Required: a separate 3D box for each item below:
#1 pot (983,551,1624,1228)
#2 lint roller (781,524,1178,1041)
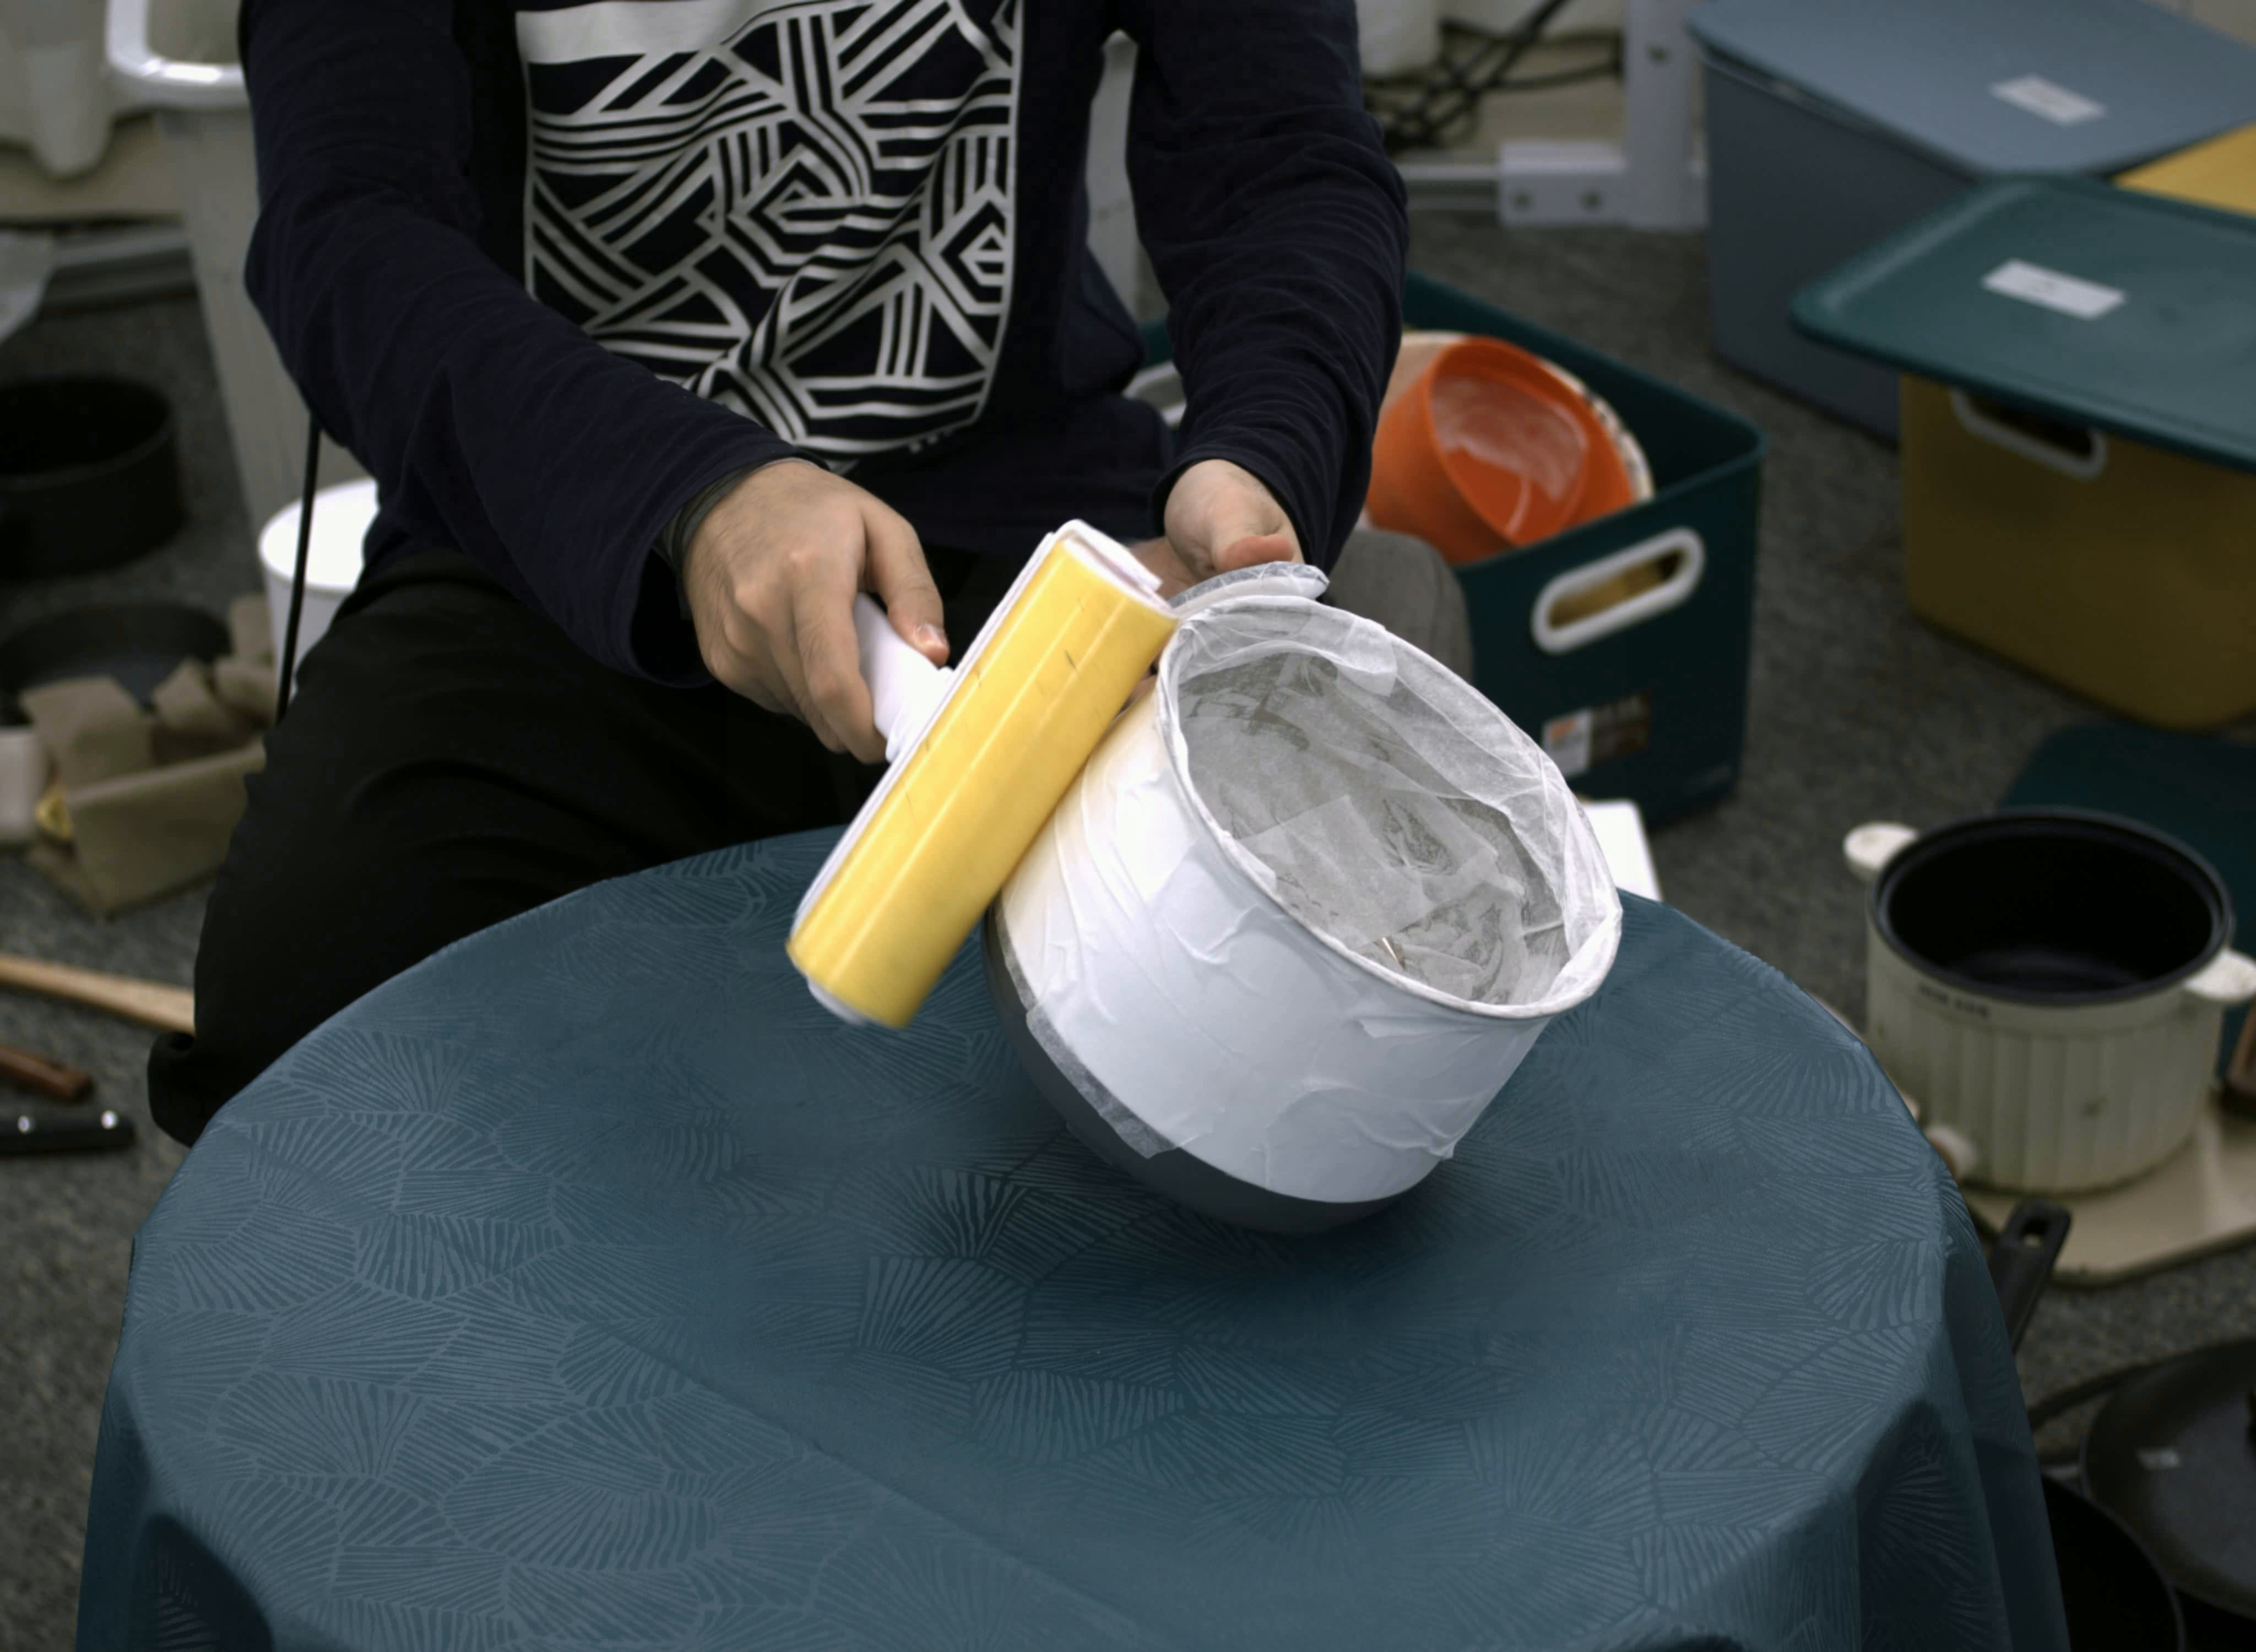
[{"bbox_3d":[0.045,0.009,1.838,0.178,0.134,0.237,15,41,-36],"label":"pot"},{"bbox_3d":[-0.080,-0.041,1.851,0.051,0.174,0.193,28,8,-40],"label":"lint roller"}]
